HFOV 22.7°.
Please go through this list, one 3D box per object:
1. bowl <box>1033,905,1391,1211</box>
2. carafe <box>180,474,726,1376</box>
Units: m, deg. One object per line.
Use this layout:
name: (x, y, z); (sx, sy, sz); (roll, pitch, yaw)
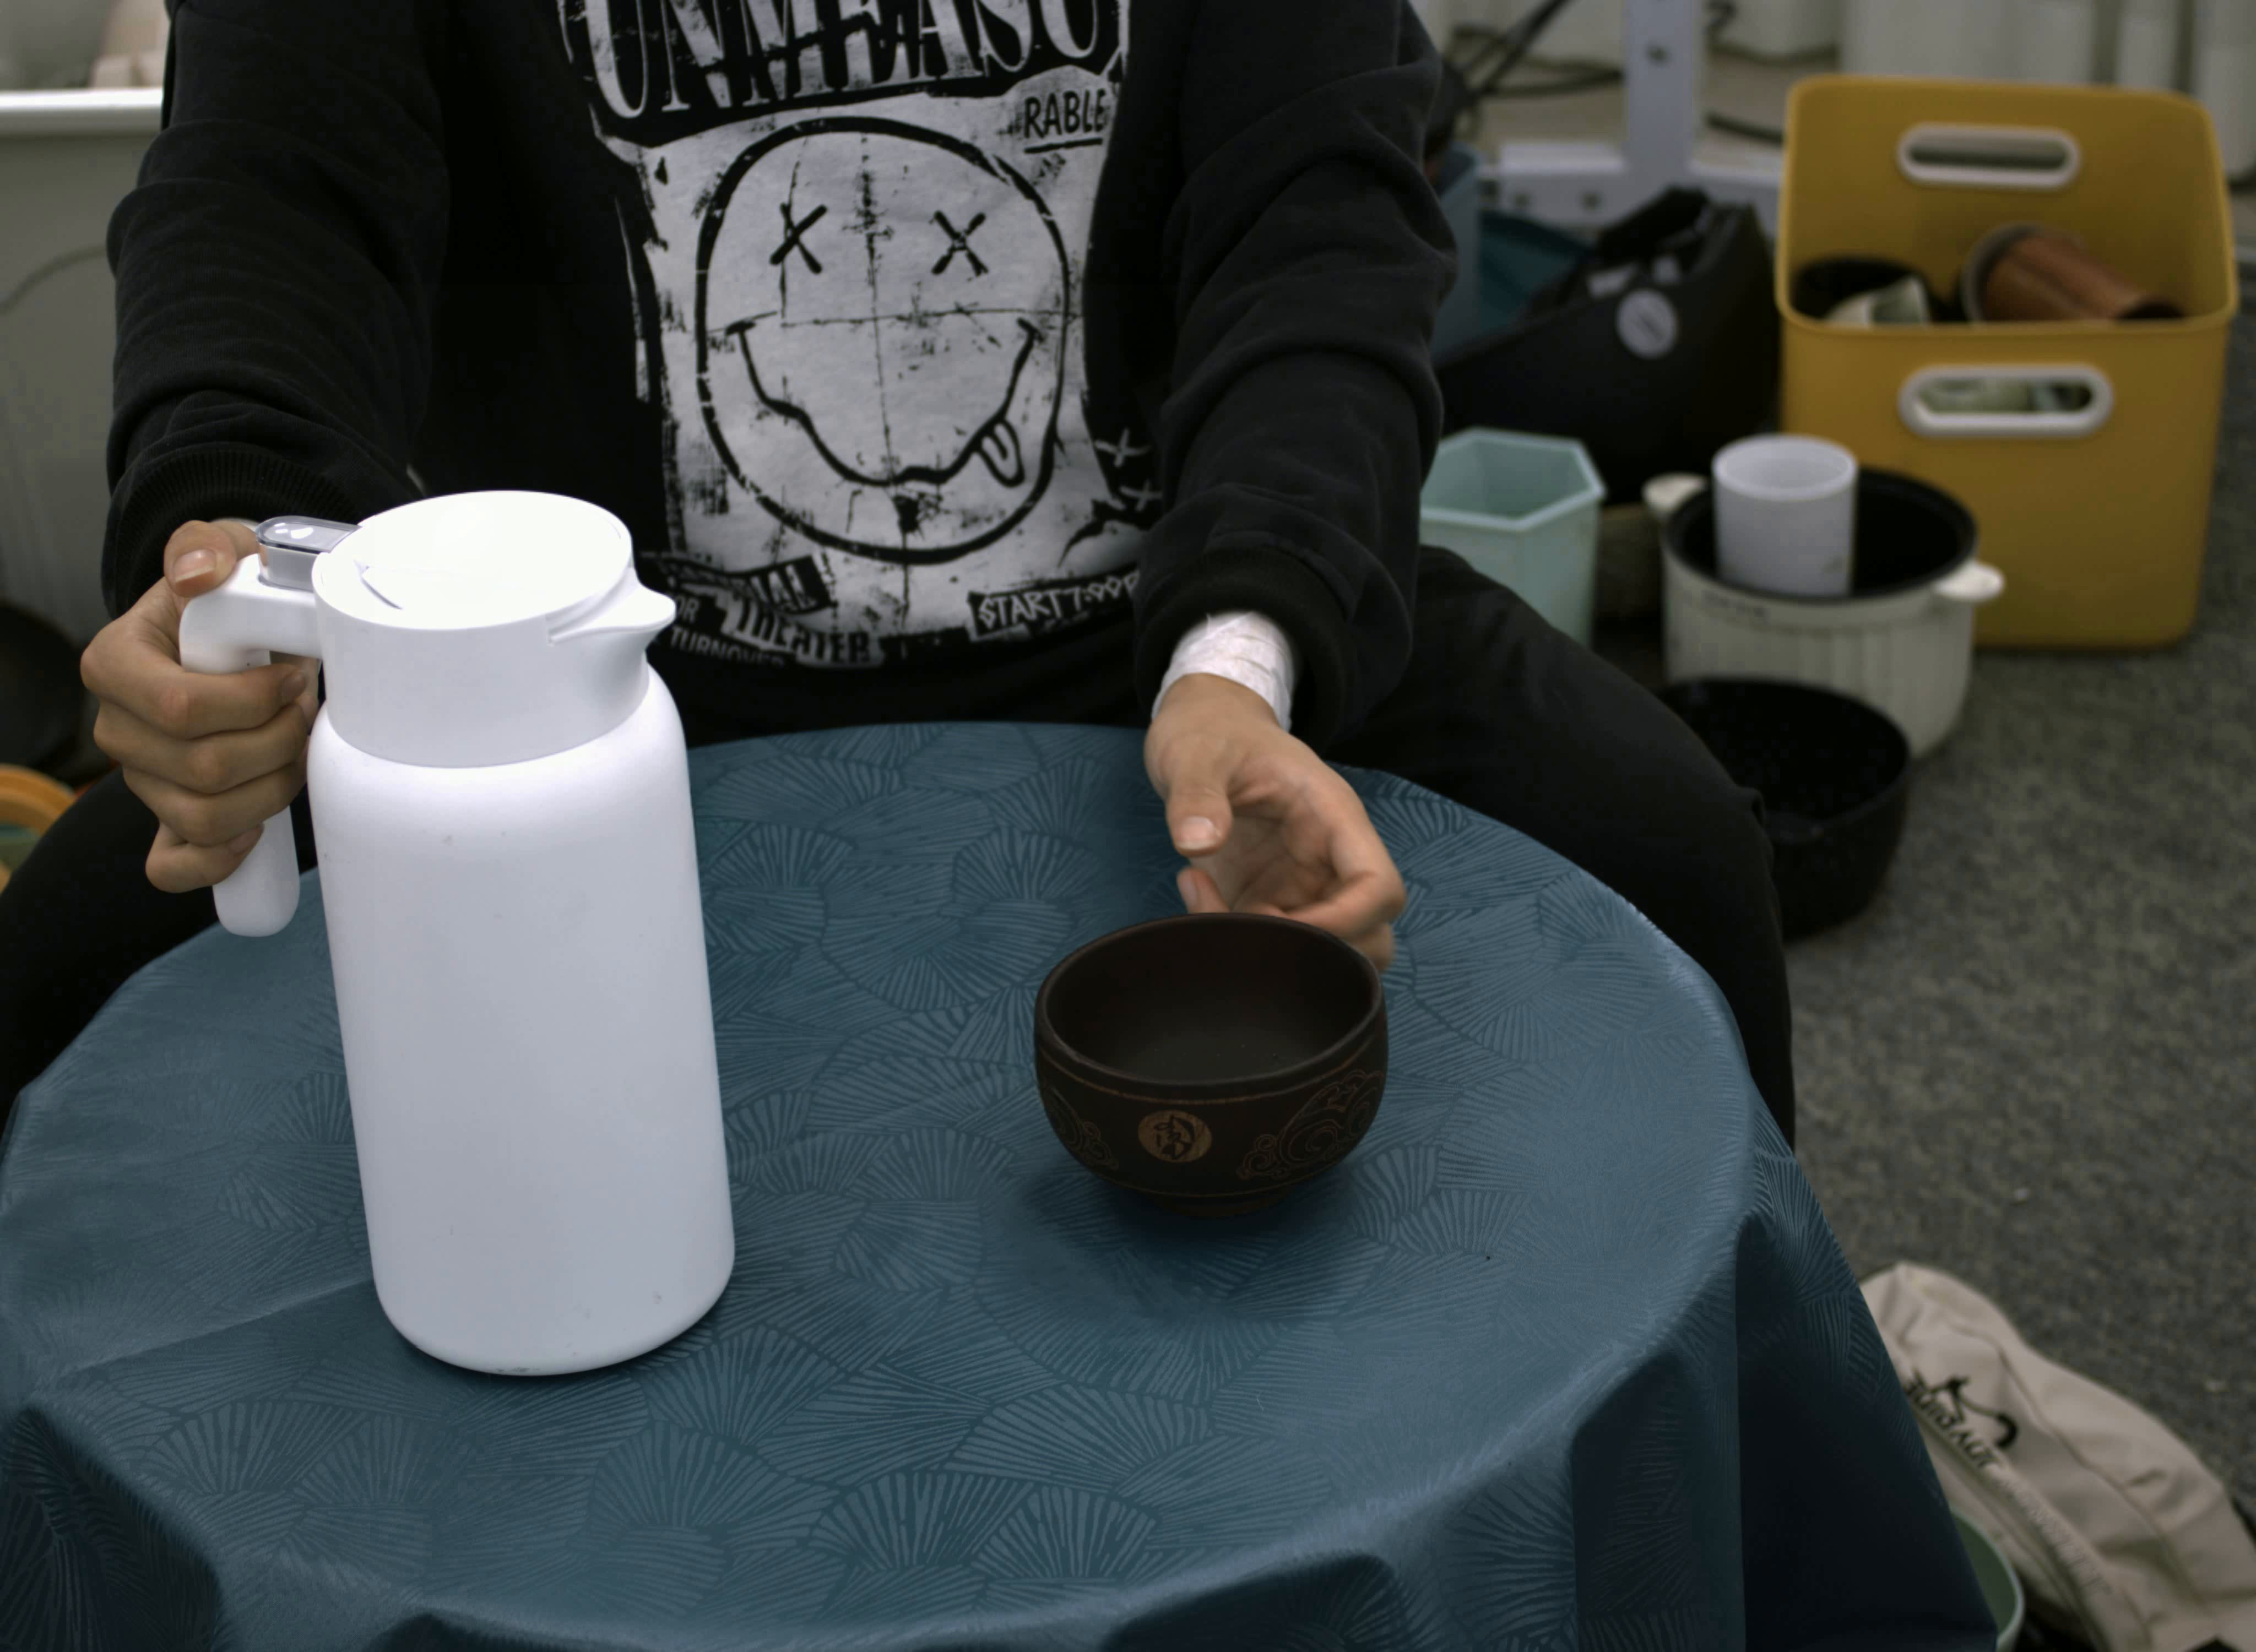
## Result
bowl: (0.028, 0.083, 1.851); (0.117, 0.069, 0.120); (-3, 26, 2)
carafe: (-0.209, 0.031, 1.767); (0.171, 0.266, 0.126); (8, 30, 21)
